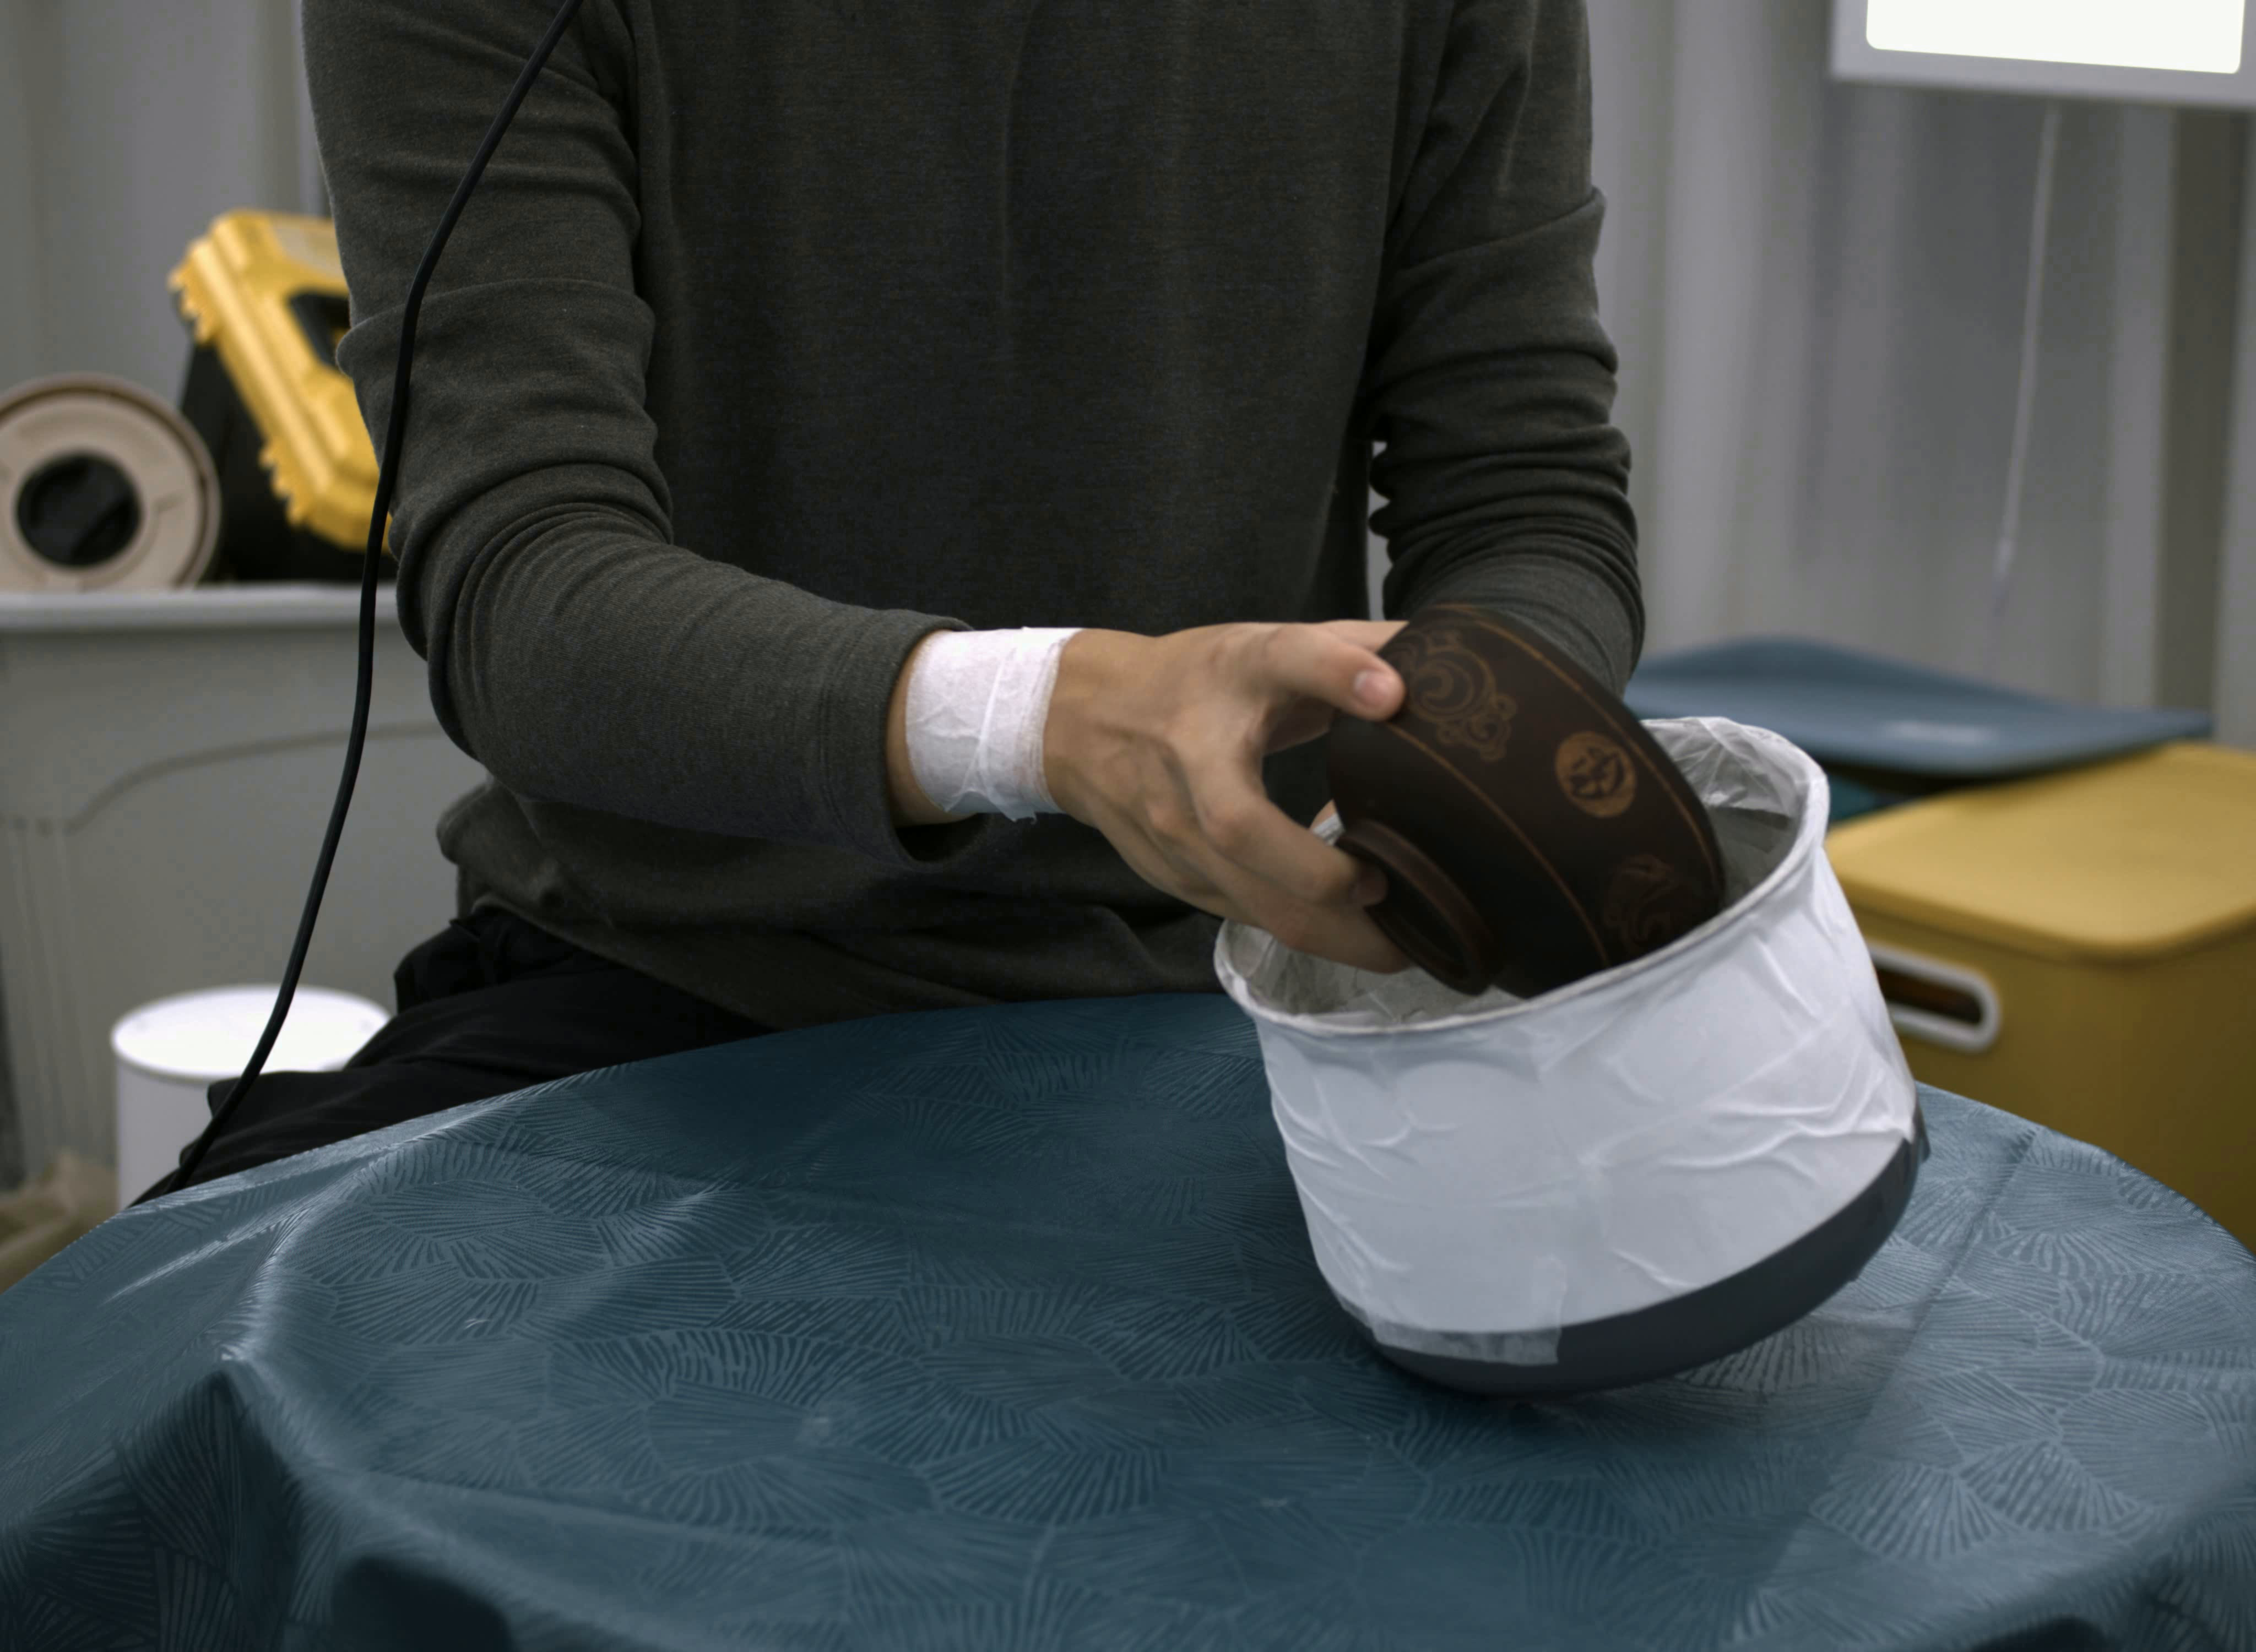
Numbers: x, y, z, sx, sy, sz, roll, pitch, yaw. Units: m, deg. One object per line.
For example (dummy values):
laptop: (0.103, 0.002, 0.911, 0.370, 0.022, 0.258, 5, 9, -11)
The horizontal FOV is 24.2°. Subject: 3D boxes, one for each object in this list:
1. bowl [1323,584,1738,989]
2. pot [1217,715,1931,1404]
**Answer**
bowl: (0.099, 0.000, 1.413, 0.070, 0.119, 0.116, -45, 33, -15)
pot: (0.119, 0.059, 1.502, 0.178, 0.138, 0.231, -23, 22, -11)
